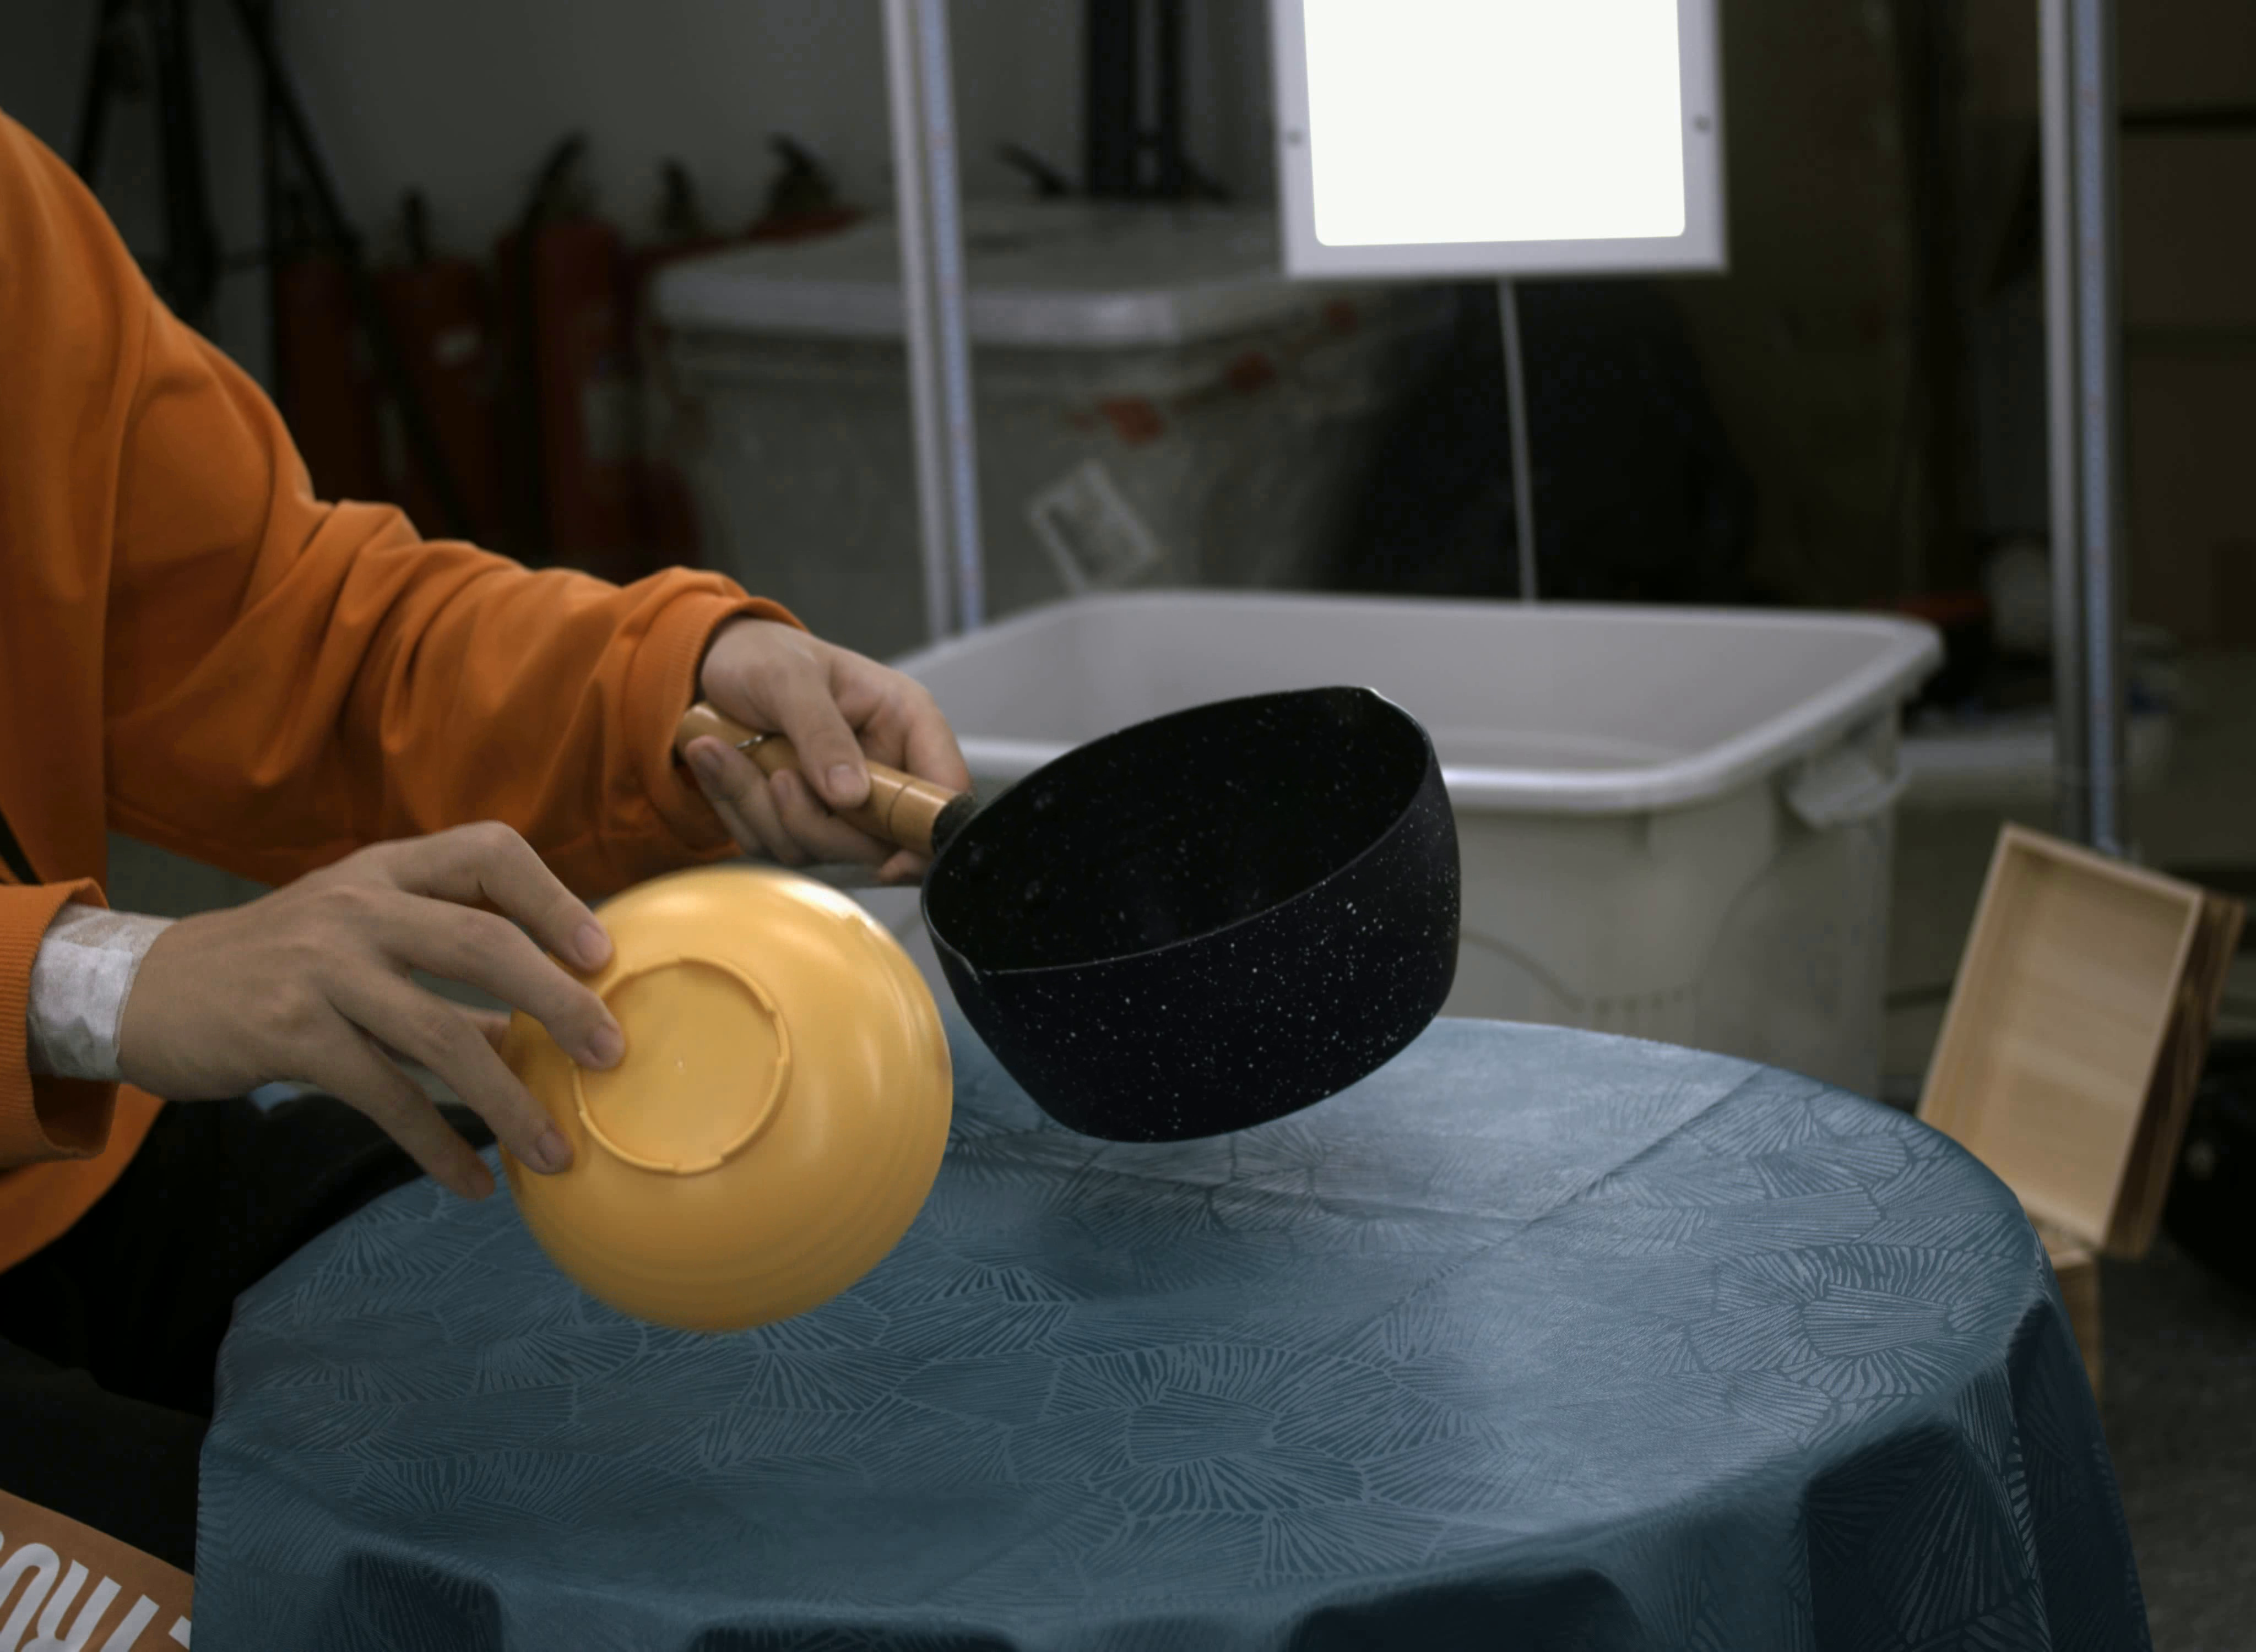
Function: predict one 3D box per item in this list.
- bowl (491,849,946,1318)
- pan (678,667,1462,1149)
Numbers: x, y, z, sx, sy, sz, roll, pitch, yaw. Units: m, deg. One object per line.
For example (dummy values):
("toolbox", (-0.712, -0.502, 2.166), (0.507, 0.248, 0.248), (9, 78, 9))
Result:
("bowl", (-0.131, 0.072, 1.660), (0.146, 0.145, 0.059), (-2, -12, 13))
("pan", (-0.031, 0.018, 1.939), (0.350, 0.108, 0.203), (8, 38, 45))
